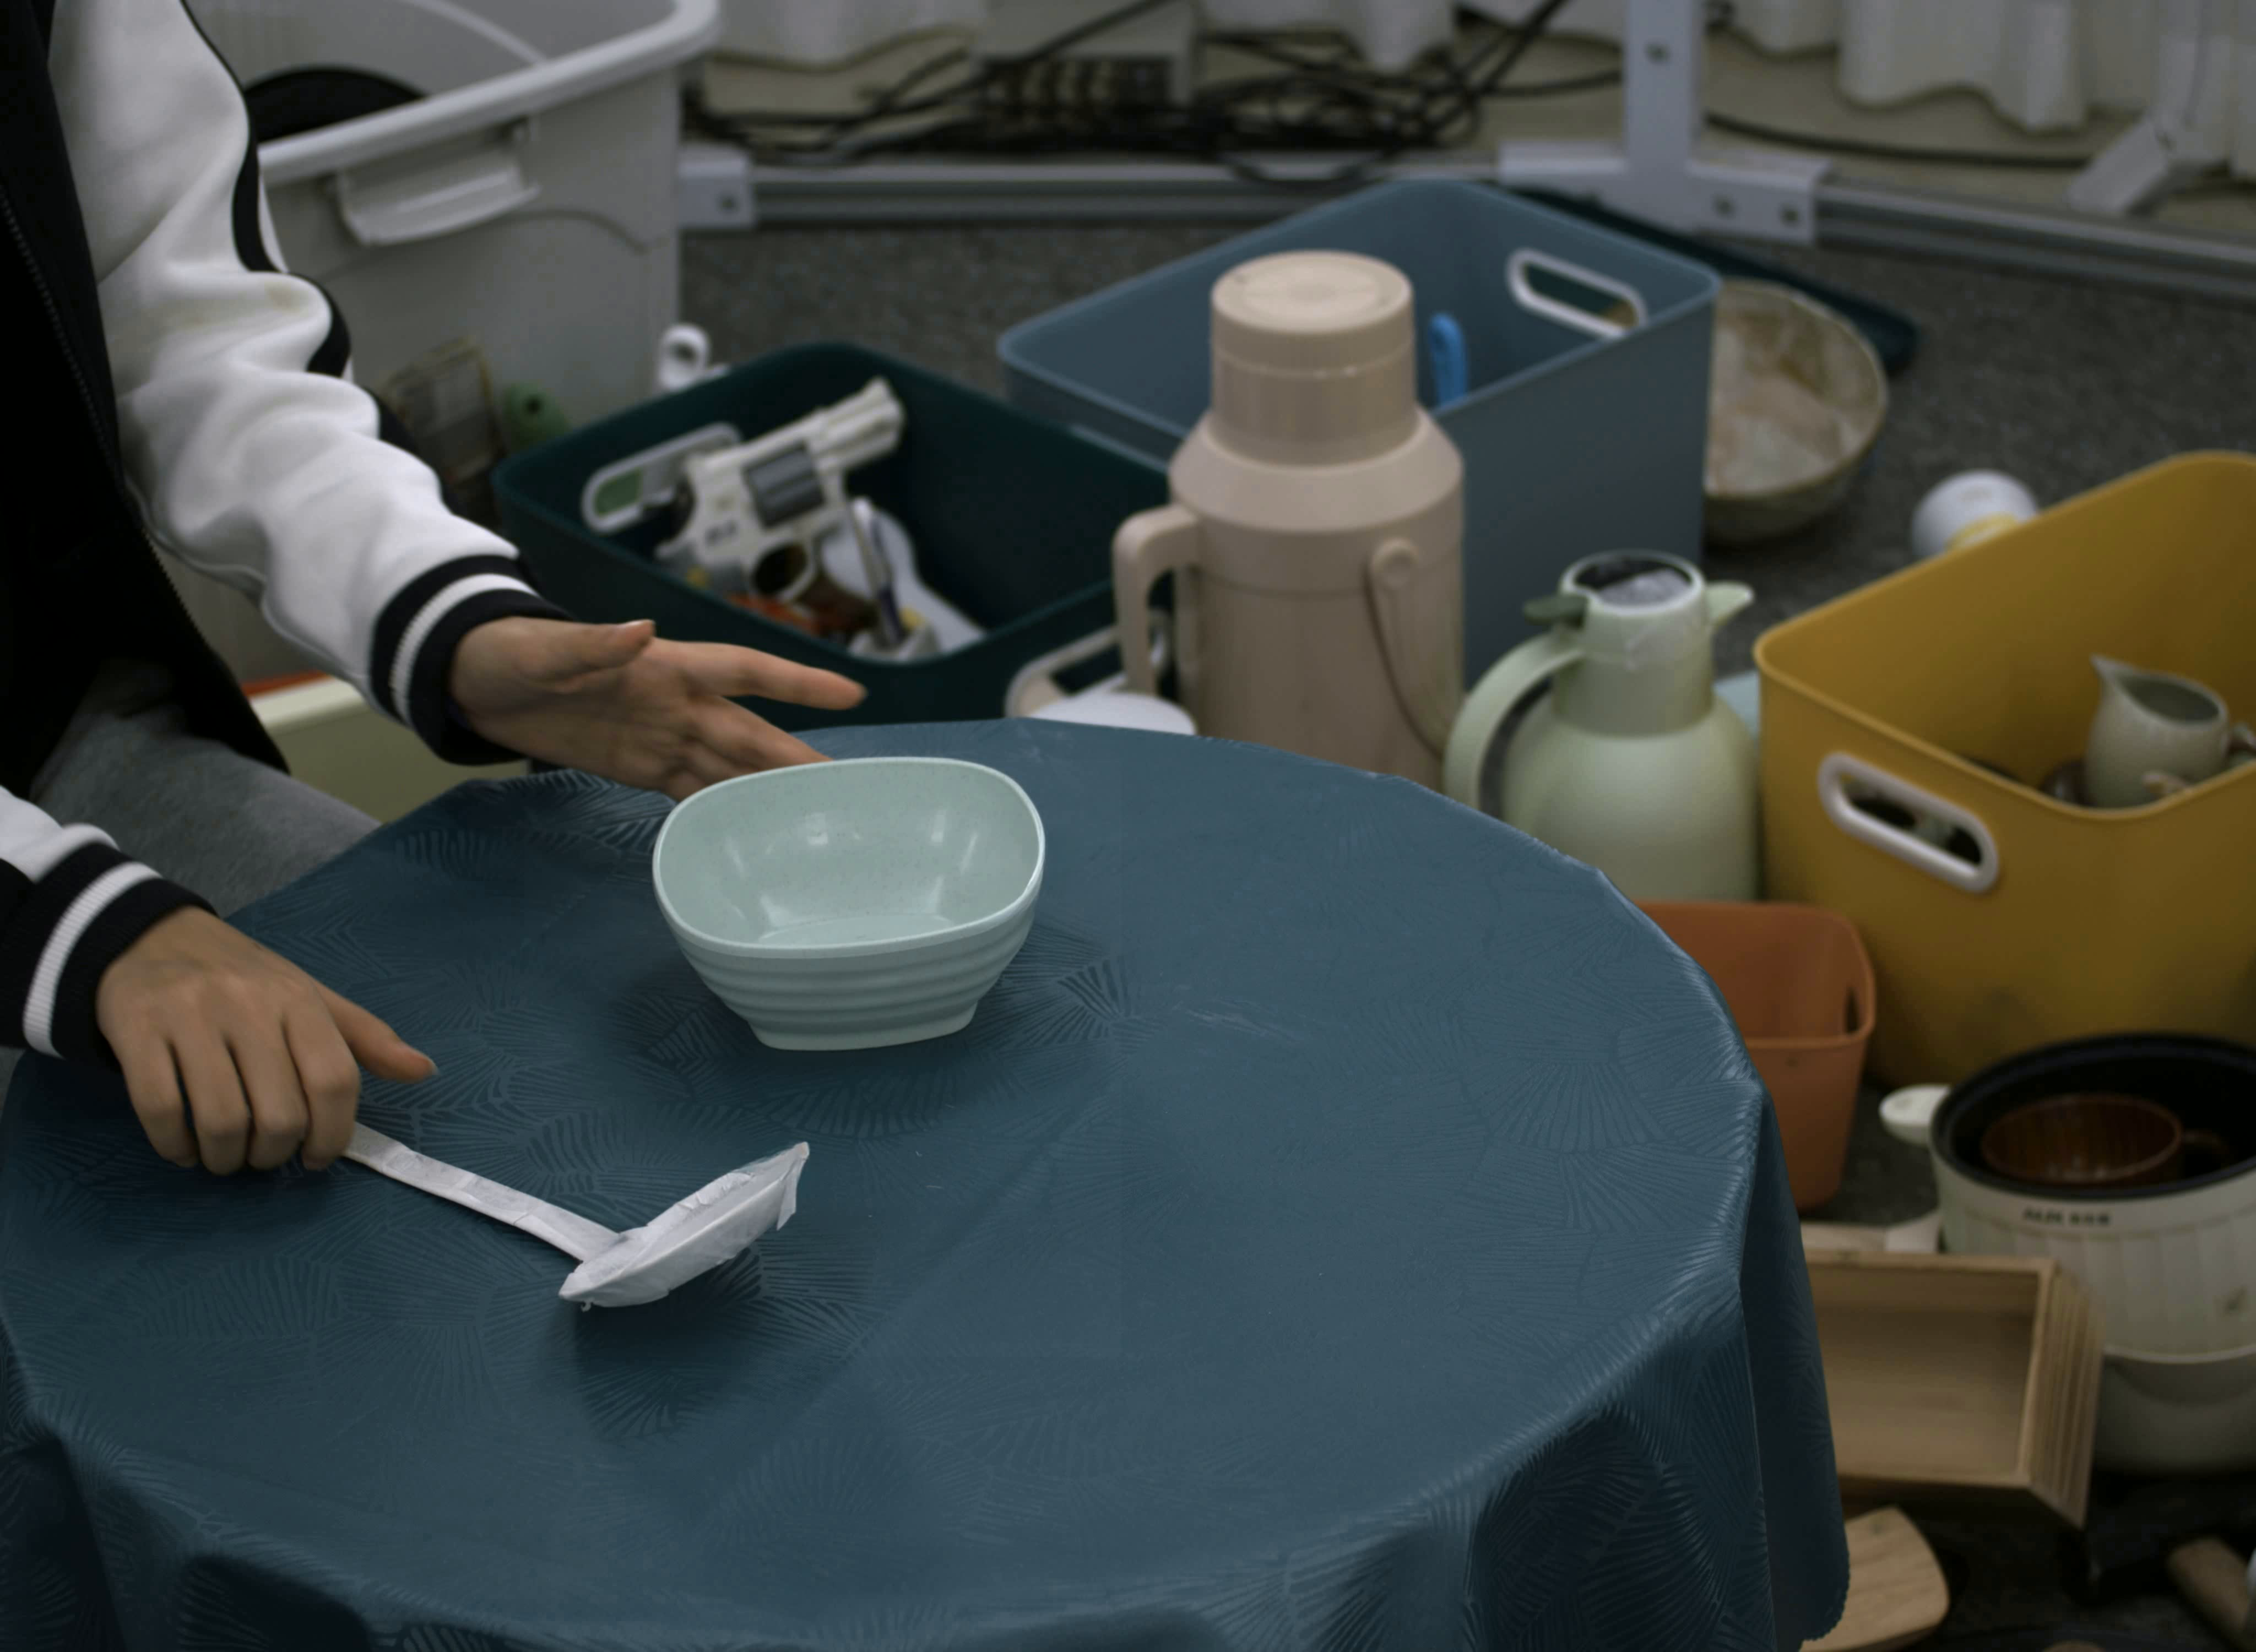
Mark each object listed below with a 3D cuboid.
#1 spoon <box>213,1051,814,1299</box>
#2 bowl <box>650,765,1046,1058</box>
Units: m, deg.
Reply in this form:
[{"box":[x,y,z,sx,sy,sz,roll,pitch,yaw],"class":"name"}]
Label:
[{"box":[-0.213,0.097,1.866,0.277,0.059,0.102,21,34,38],"class":"spoon"},{"box":[-0.097,0.036,1.981,0.151,0.058,0.154,-2,27,1],"class":"bowl"}]
